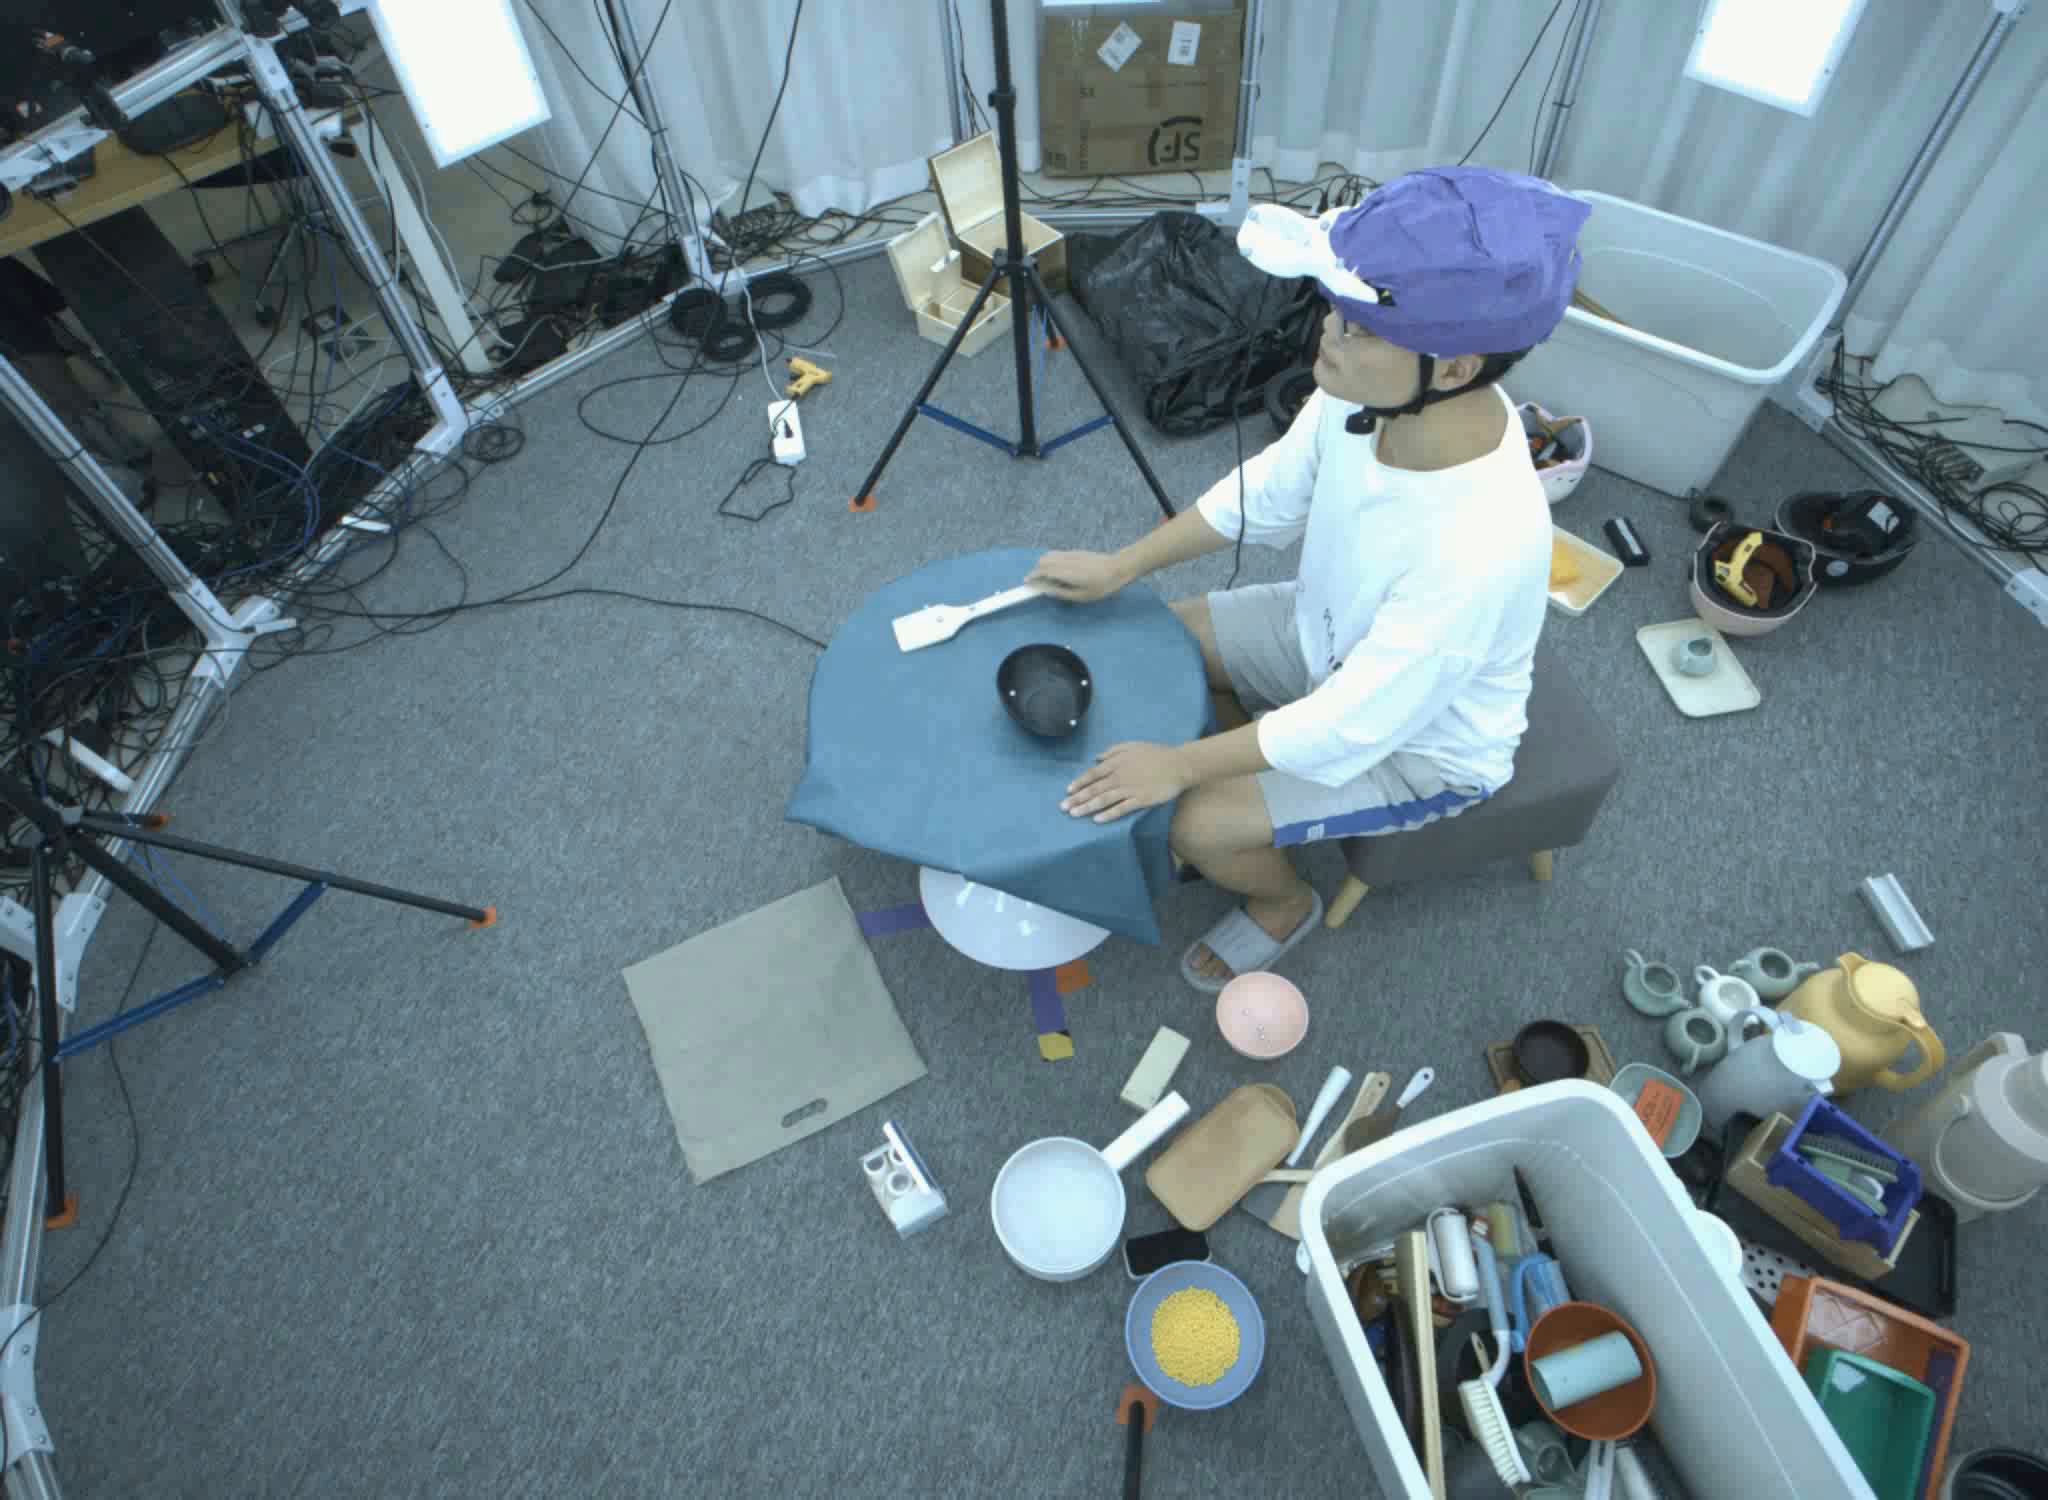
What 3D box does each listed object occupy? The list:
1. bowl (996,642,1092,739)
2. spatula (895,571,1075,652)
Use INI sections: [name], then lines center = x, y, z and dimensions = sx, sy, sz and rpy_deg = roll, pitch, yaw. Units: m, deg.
[bowl]
center = 0.031, -0.079, 1.801
dimensions = 0.138, 0.067, 0.167
rpy_deg = -16, 58, -10
[spatula]
center = -0.058, -0.226, 1.929
dimensions = 0.294, 0.011, 0.071
rpy_deg = -20, 56, -5
